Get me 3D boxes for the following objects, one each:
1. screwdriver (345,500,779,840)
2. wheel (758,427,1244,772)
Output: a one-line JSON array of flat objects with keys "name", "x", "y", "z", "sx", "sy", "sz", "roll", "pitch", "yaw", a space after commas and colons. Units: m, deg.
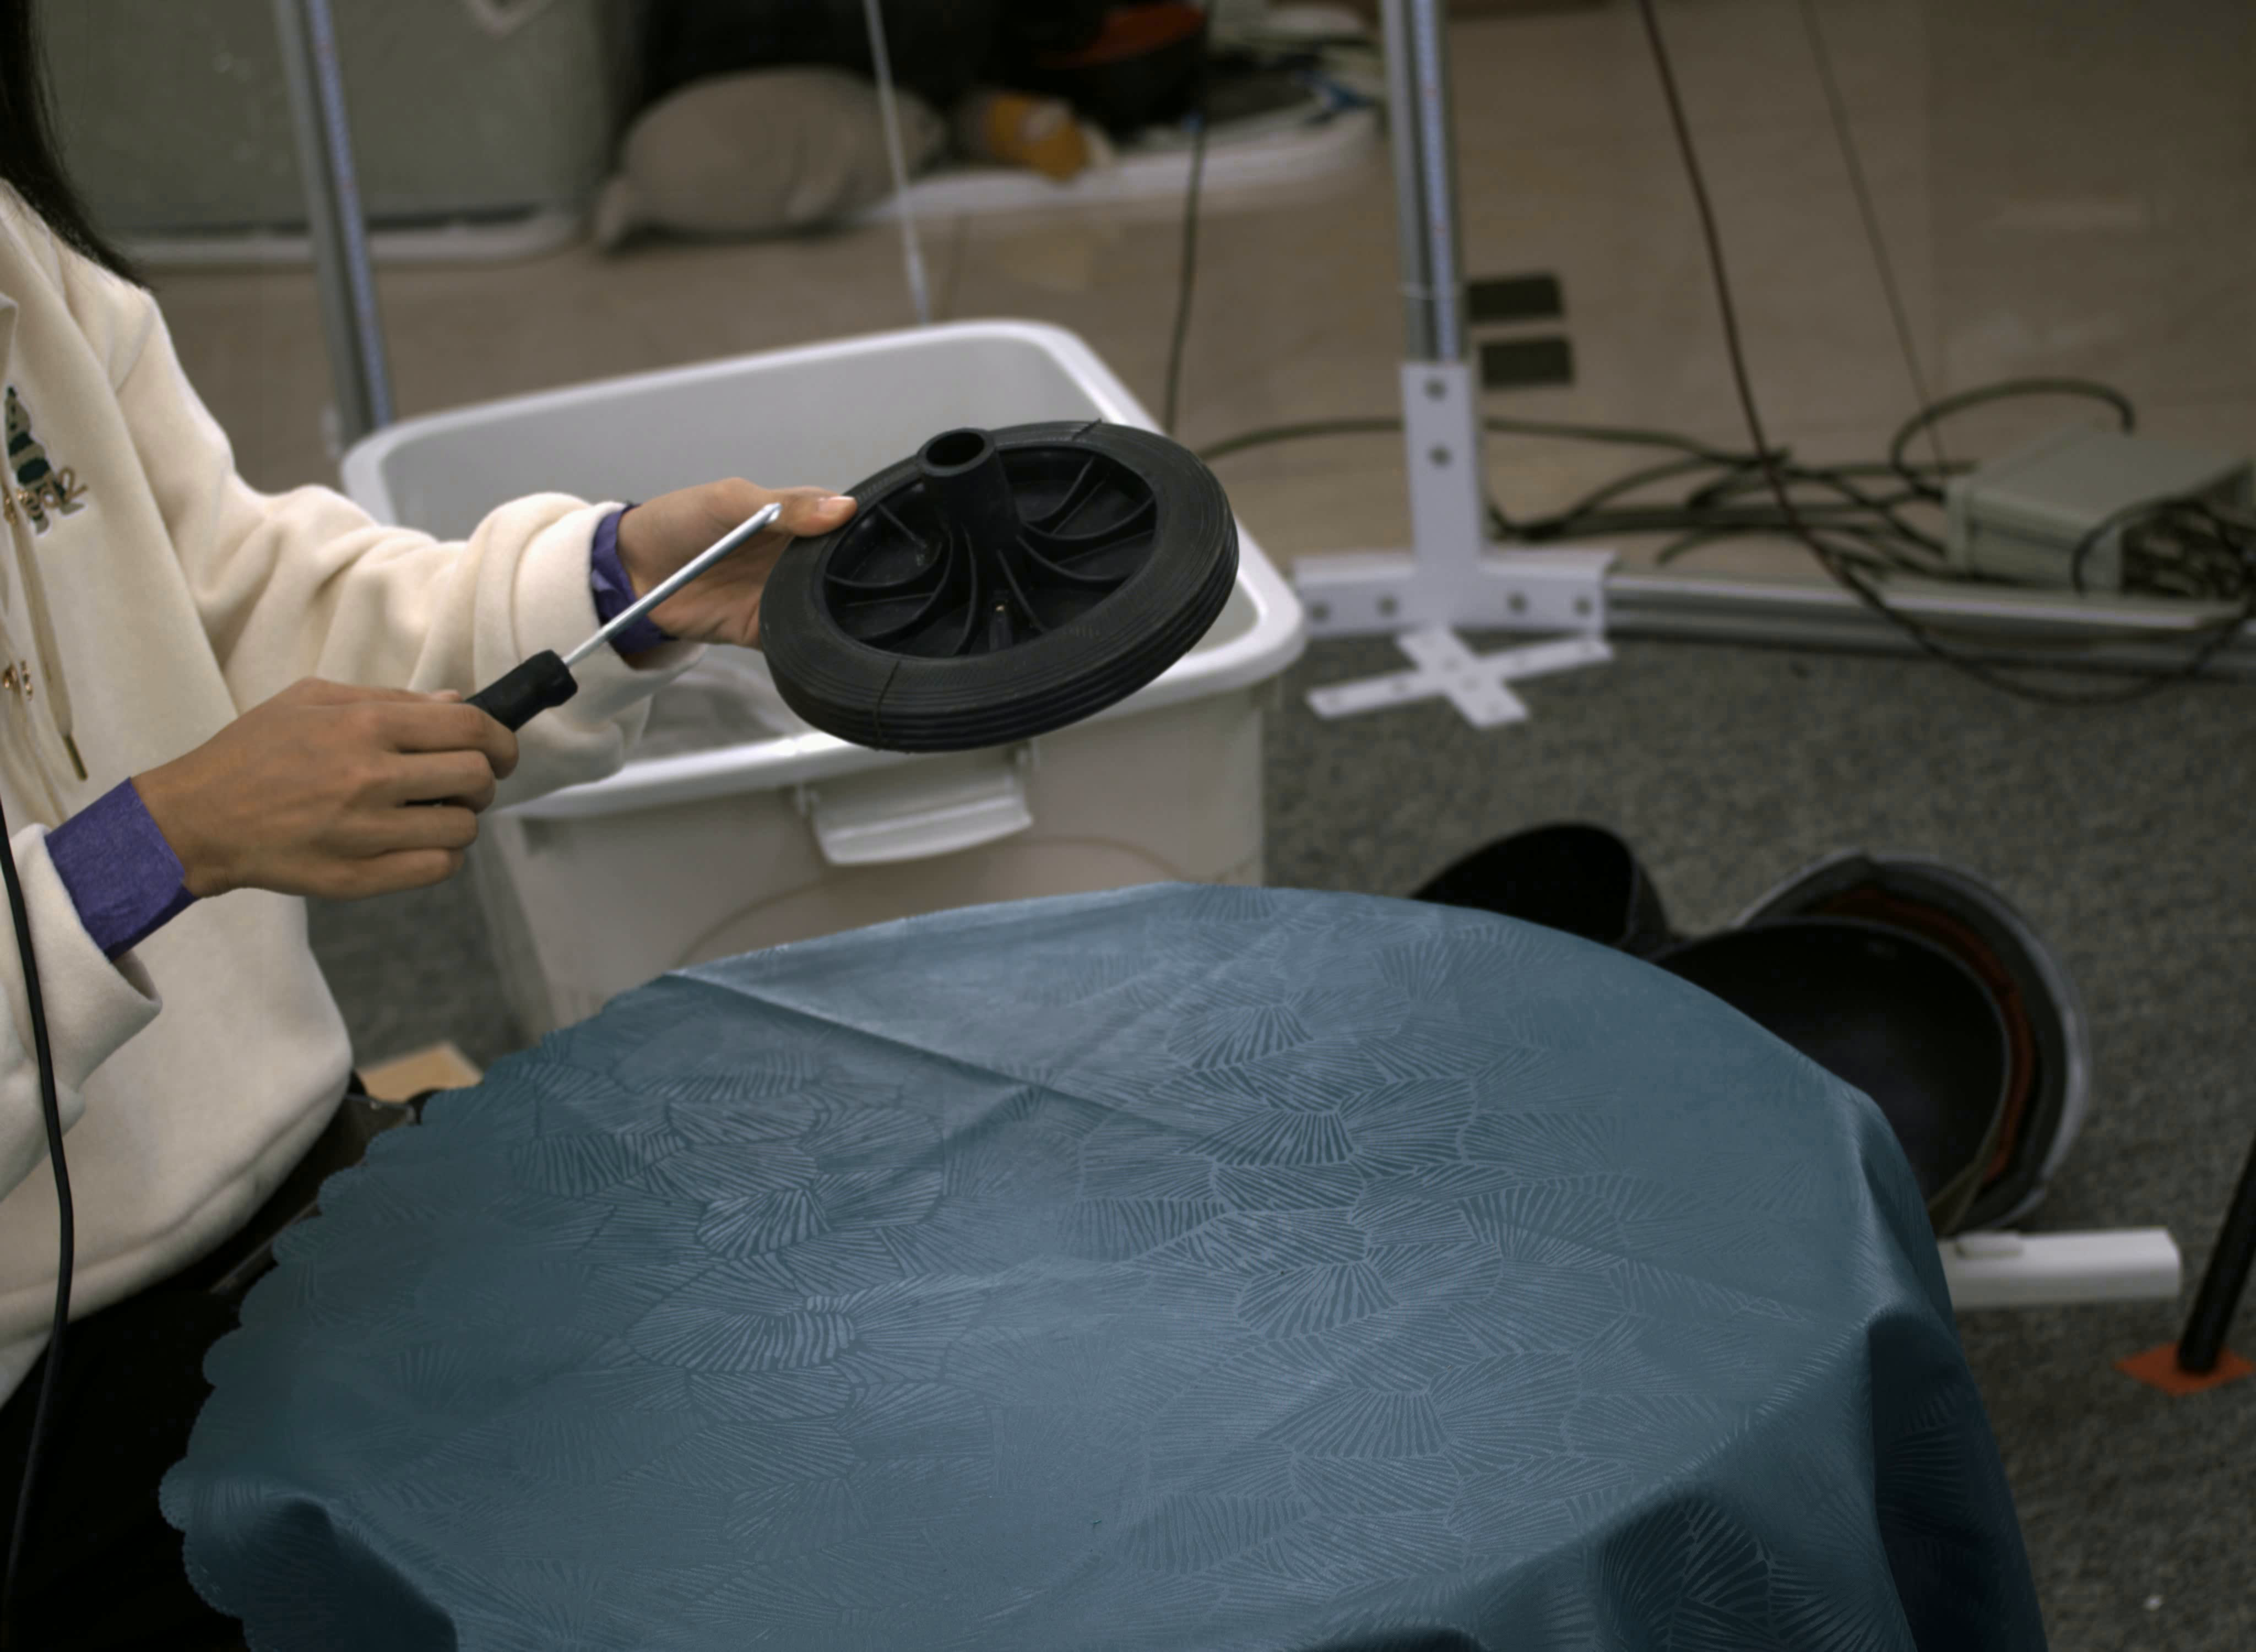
[{"name": "screwdriver", "x": -0.209, "y": -0.064, "z": 2.087, "sx": 0.196, "sy": 0.032, "sz": 0.031, "roll": -41, "pitch": 32, "yaw": -4}, {"name": "wheel", "x": -0.054, "y": -0.105, "z": 2.152, "sx": 0.186, "sy": 0.080, "sz": 0.187, "roll": -27, "pitch": 41, "yaw": -12}]
